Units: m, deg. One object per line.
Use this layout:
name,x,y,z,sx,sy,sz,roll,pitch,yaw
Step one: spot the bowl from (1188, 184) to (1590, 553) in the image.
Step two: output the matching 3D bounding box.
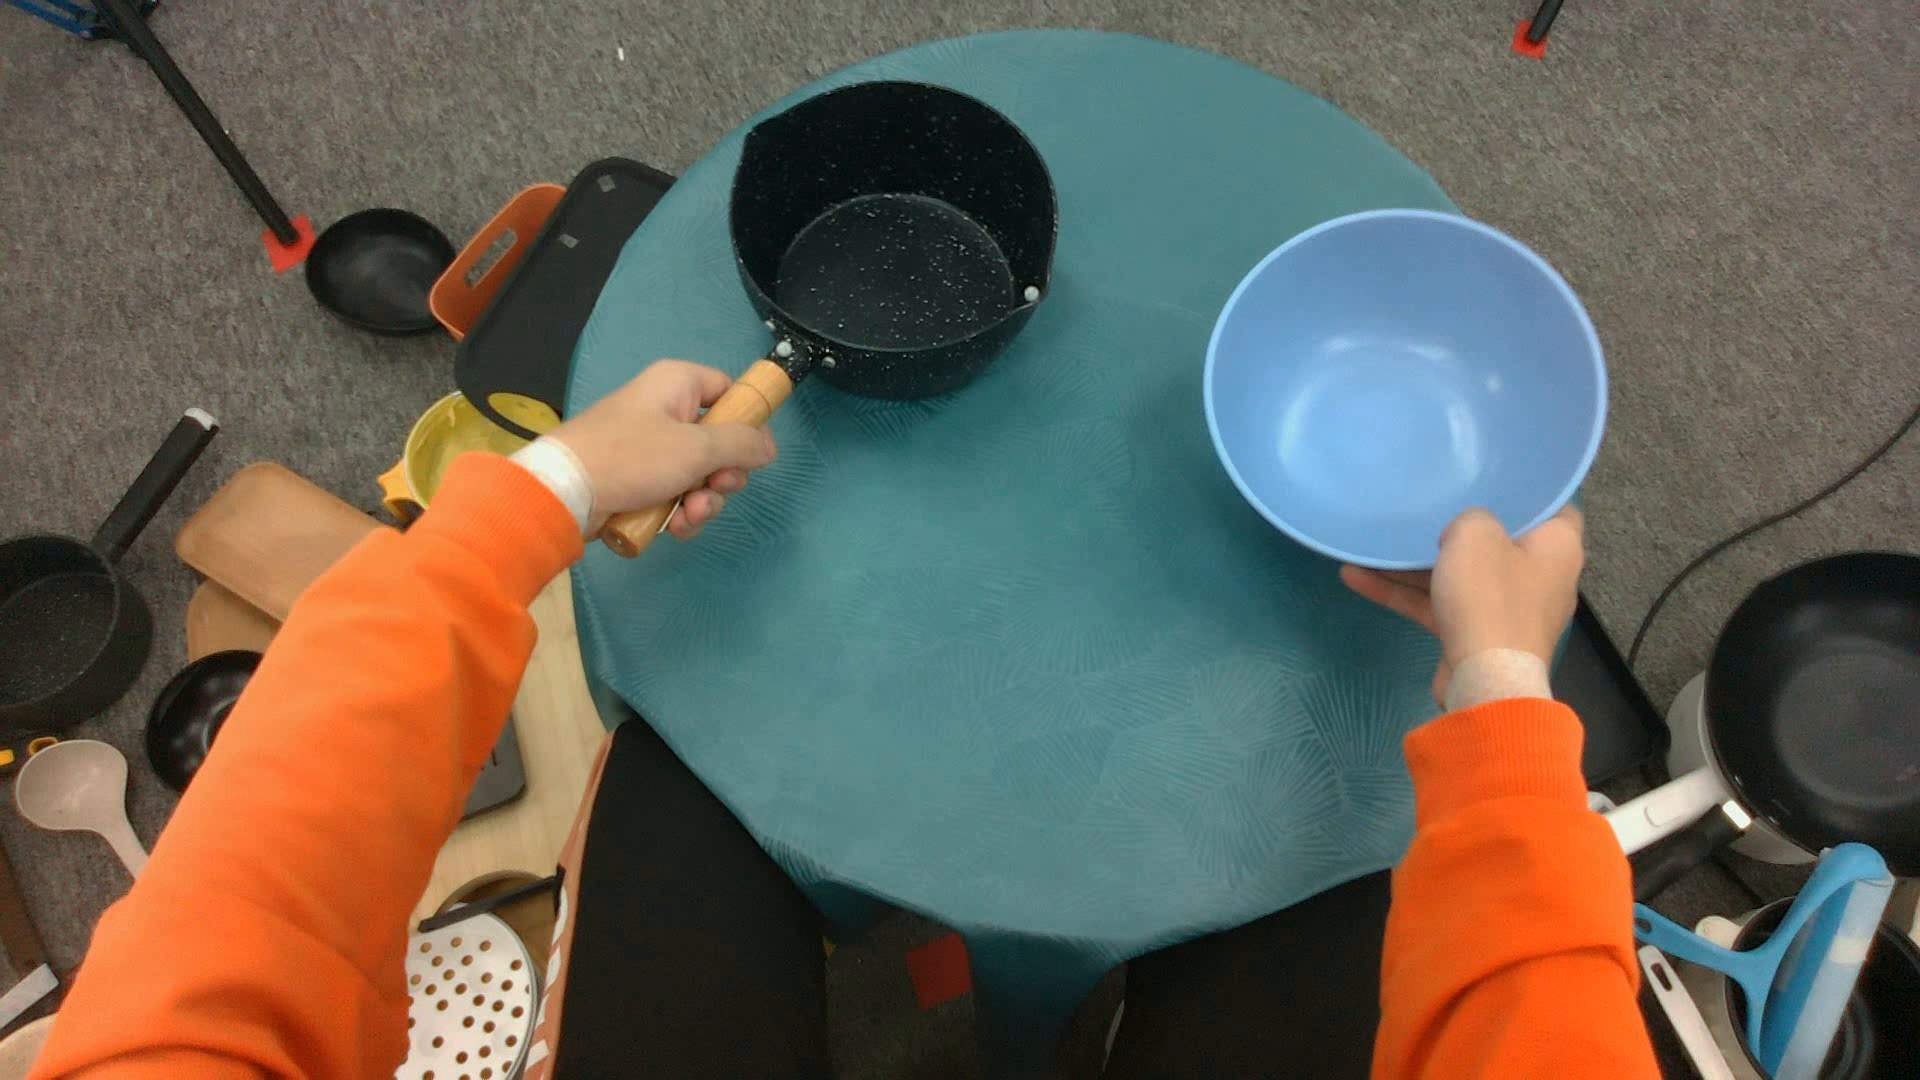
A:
bowl,0.226,-0.081,0.744,0.196,0.095,0.197,-3,77,13

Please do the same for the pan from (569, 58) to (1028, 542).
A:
pan,-0.094,-0.119,0.758,0.207,0.108,0.344,28,67,7
